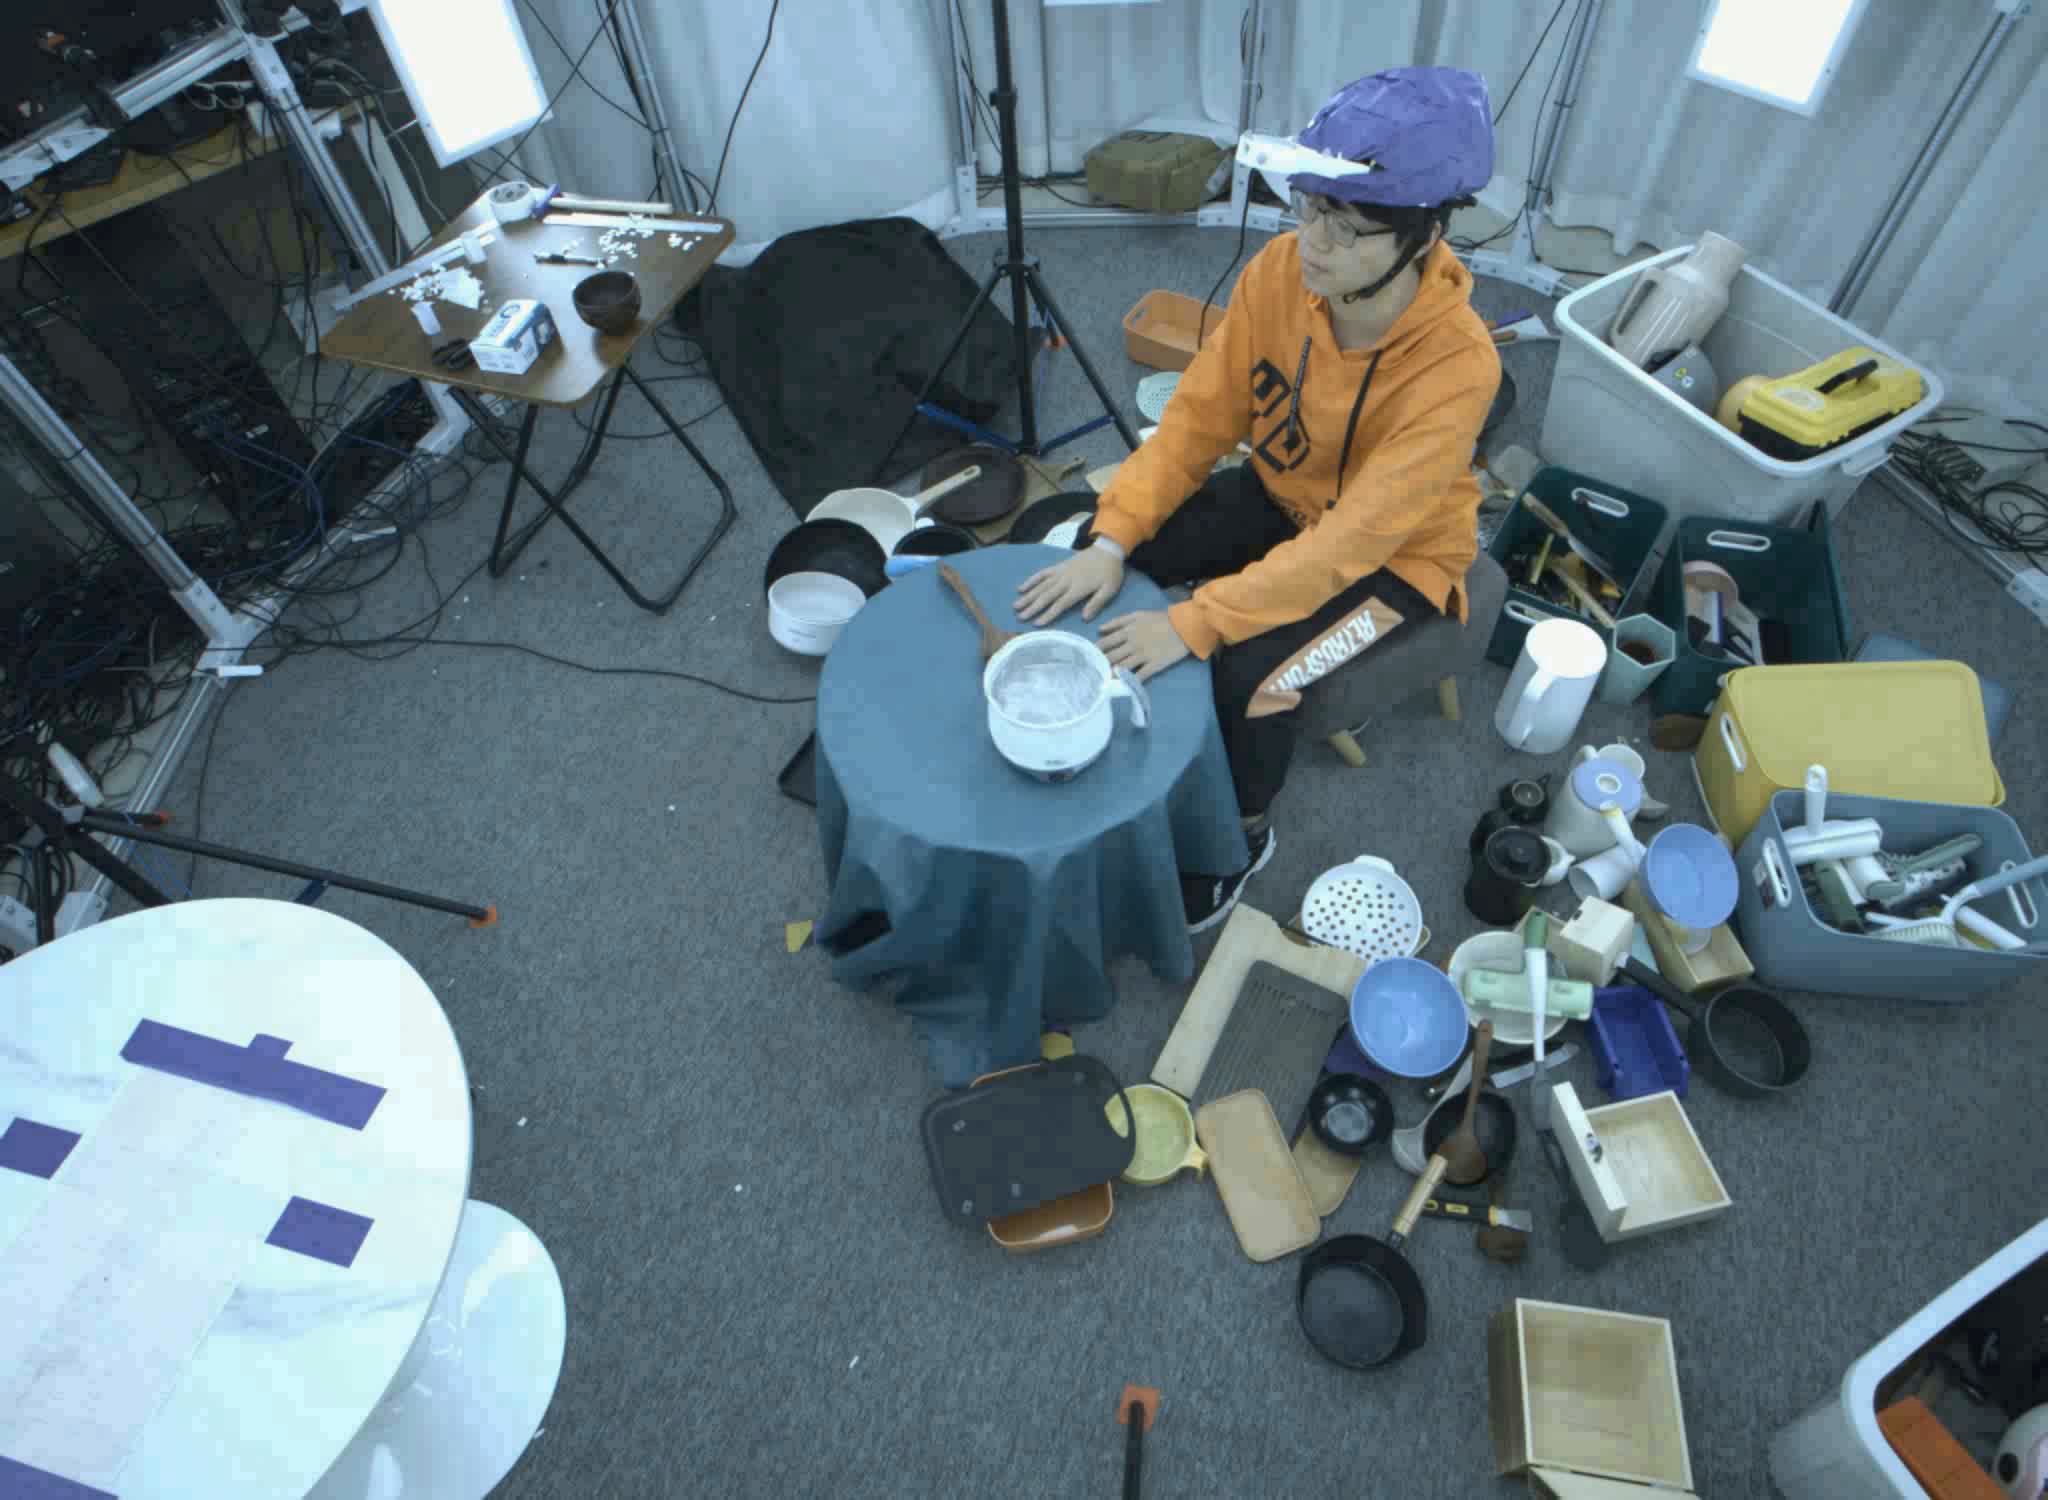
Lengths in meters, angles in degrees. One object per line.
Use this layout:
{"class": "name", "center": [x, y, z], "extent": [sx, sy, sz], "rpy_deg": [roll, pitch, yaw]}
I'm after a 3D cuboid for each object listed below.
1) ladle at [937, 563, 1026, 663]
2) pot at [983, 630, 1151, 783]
{"class": "ladle", "center": [-0.078, -0.225, 1.910], "extent": [0.077, 0.066, 0.255], "rpy_deg": [-23, 57, -16]}
{"class": "pot", "center": [0.063, -0.064, 1.745], "extent": [0.234, 0.138, 0.176], "rpy_deg": [-7, 55, -2]}
